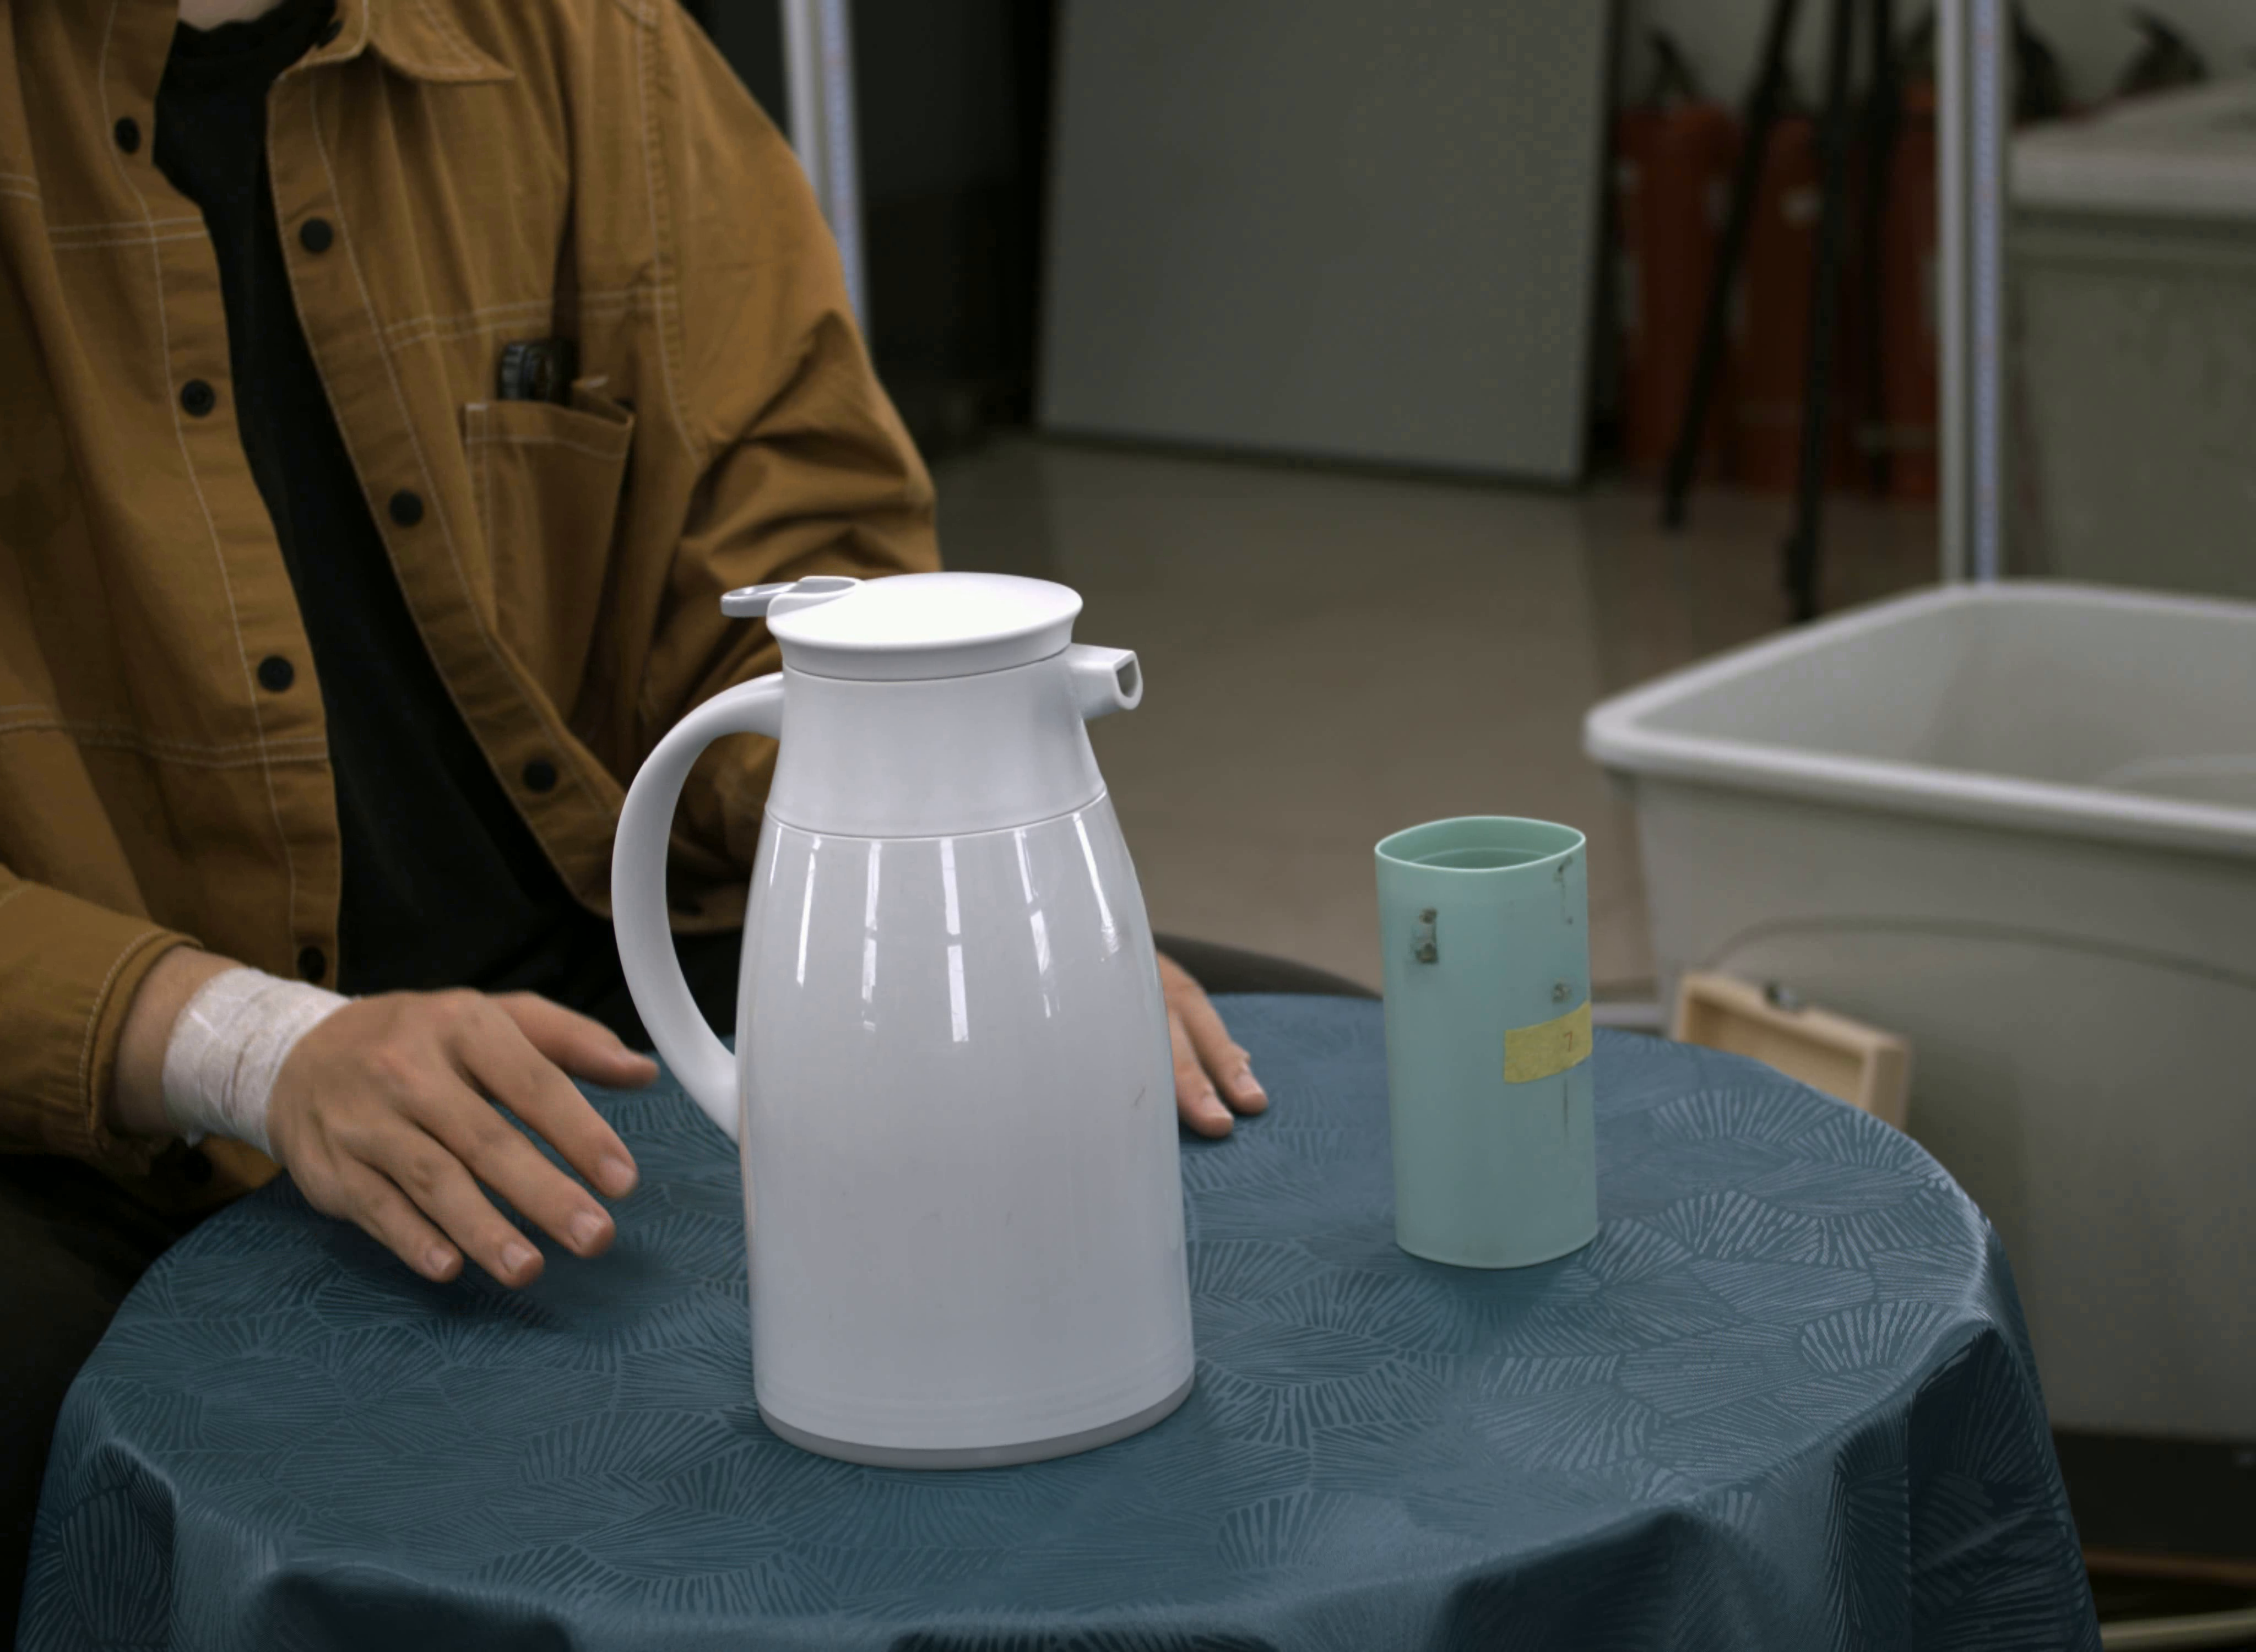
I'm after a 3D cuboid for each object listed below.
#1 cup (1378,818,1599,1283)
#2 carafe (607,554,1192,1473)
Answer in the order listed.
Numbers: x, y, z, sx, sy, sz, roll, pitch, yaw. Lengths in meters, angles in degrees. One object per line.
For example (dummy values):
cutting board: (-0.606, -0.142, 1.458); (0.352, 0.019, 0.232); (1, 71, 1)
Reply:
cup: (0.113, 0.069, 1.689); (0.066, 0.134, 0.067); (-3, 14, 0)
carafe: (-0.071, 0.048, 1.575); (0.167, 0.251, 0.131); (1, 14, 20)
